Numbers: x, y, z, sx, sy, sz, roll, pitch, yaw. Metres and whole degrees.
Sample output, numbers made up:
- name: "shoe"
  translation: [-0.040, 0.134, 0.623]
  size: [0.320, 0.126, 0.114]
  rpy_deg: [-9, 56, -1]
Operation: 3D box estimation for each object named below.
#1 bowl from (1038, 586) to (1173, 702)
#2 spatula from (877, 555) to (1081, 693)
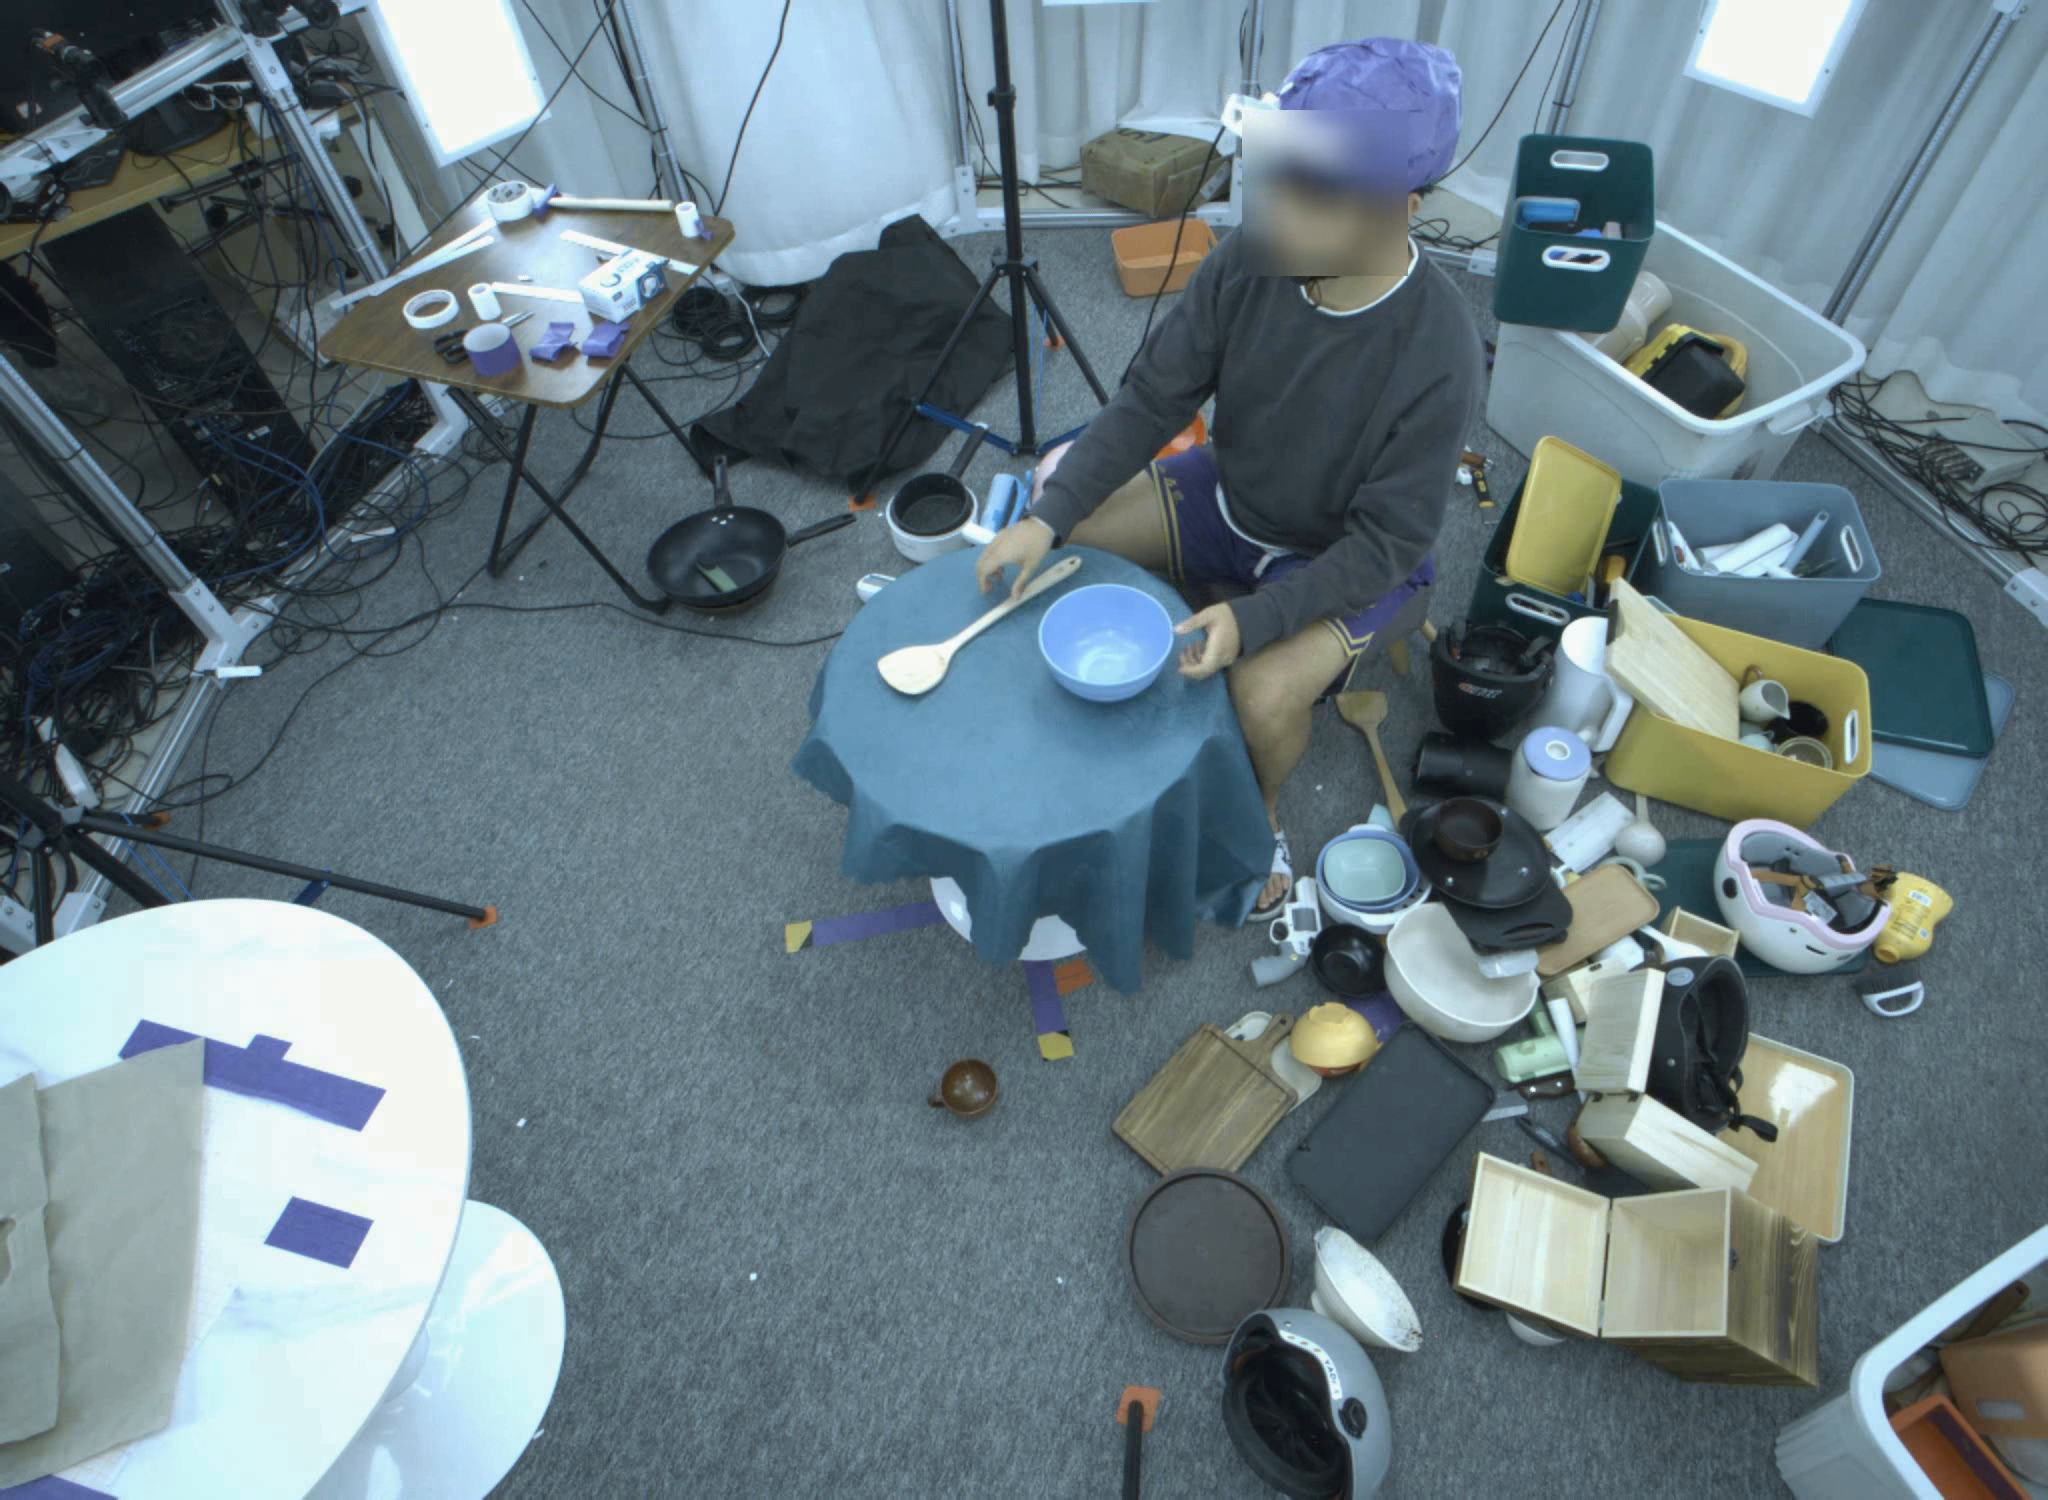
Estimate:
- name: "bowl"
  translation: [0.123, -0.143, 1.832]
  size: [0.196, 0.096, 0.194]
  rpy_deg: [-2, 53, 4]
- name: "spatula"
  translation: [-0.060, -0.210, 1.931]
  size: [0.393, 0.018, 0.094]
  rpy_deg: [-37, 63, -22]
